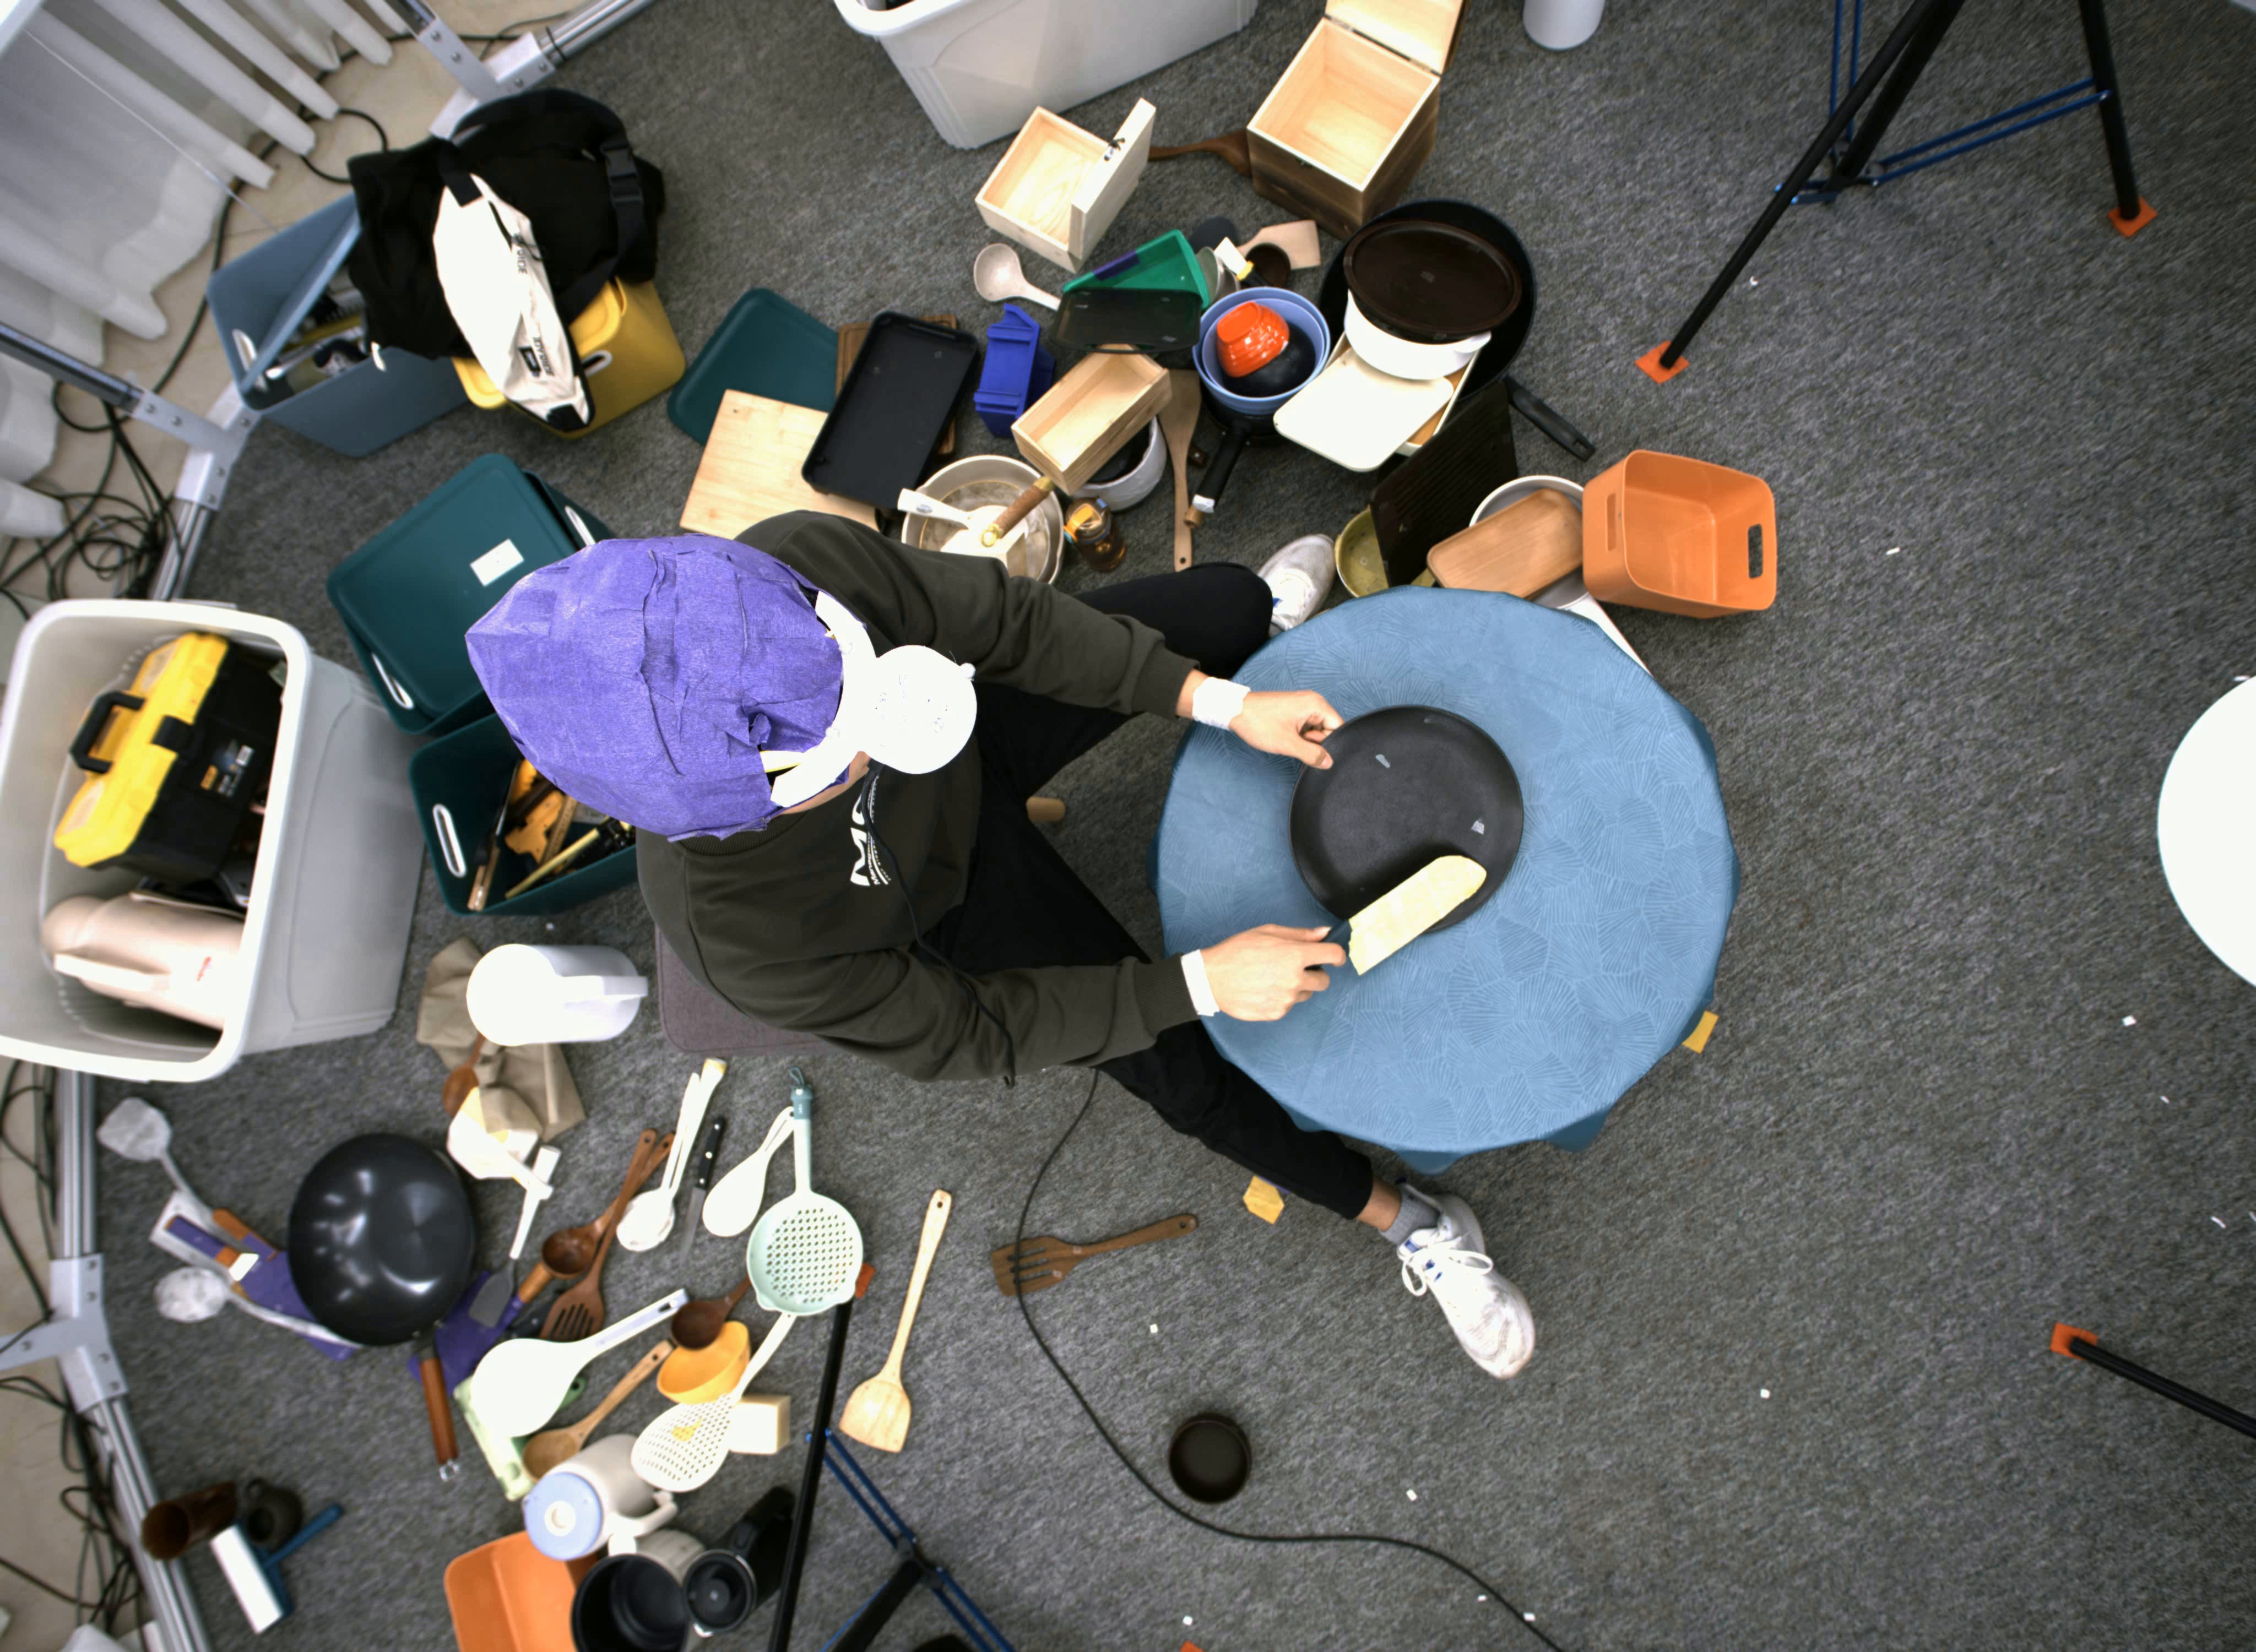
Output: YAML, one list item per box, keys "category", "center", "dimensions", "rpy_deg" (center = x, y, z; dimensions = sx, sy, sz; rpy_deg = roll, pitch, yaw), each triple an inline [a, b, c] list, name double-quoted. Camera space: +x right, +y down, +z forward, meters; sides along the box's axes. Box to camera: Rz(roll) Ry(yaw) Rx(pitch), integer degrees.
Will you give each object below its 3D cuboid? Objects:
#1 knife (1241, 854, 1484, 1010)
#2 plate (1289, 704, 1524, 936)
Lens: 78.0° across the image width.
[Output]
- category: "knife"
  center: [0.243, 0.111, 1.404]
  dimensions: [0.289, 0.027, 0.082]
  rpy_deg: [-30, 124, -4]
- category: "plate"
  center: [0.286, -0.007, 1.420]
  dimensions: [0.245, 0.023, 0.247]
  rpy_deg: [0, 104, 0]
